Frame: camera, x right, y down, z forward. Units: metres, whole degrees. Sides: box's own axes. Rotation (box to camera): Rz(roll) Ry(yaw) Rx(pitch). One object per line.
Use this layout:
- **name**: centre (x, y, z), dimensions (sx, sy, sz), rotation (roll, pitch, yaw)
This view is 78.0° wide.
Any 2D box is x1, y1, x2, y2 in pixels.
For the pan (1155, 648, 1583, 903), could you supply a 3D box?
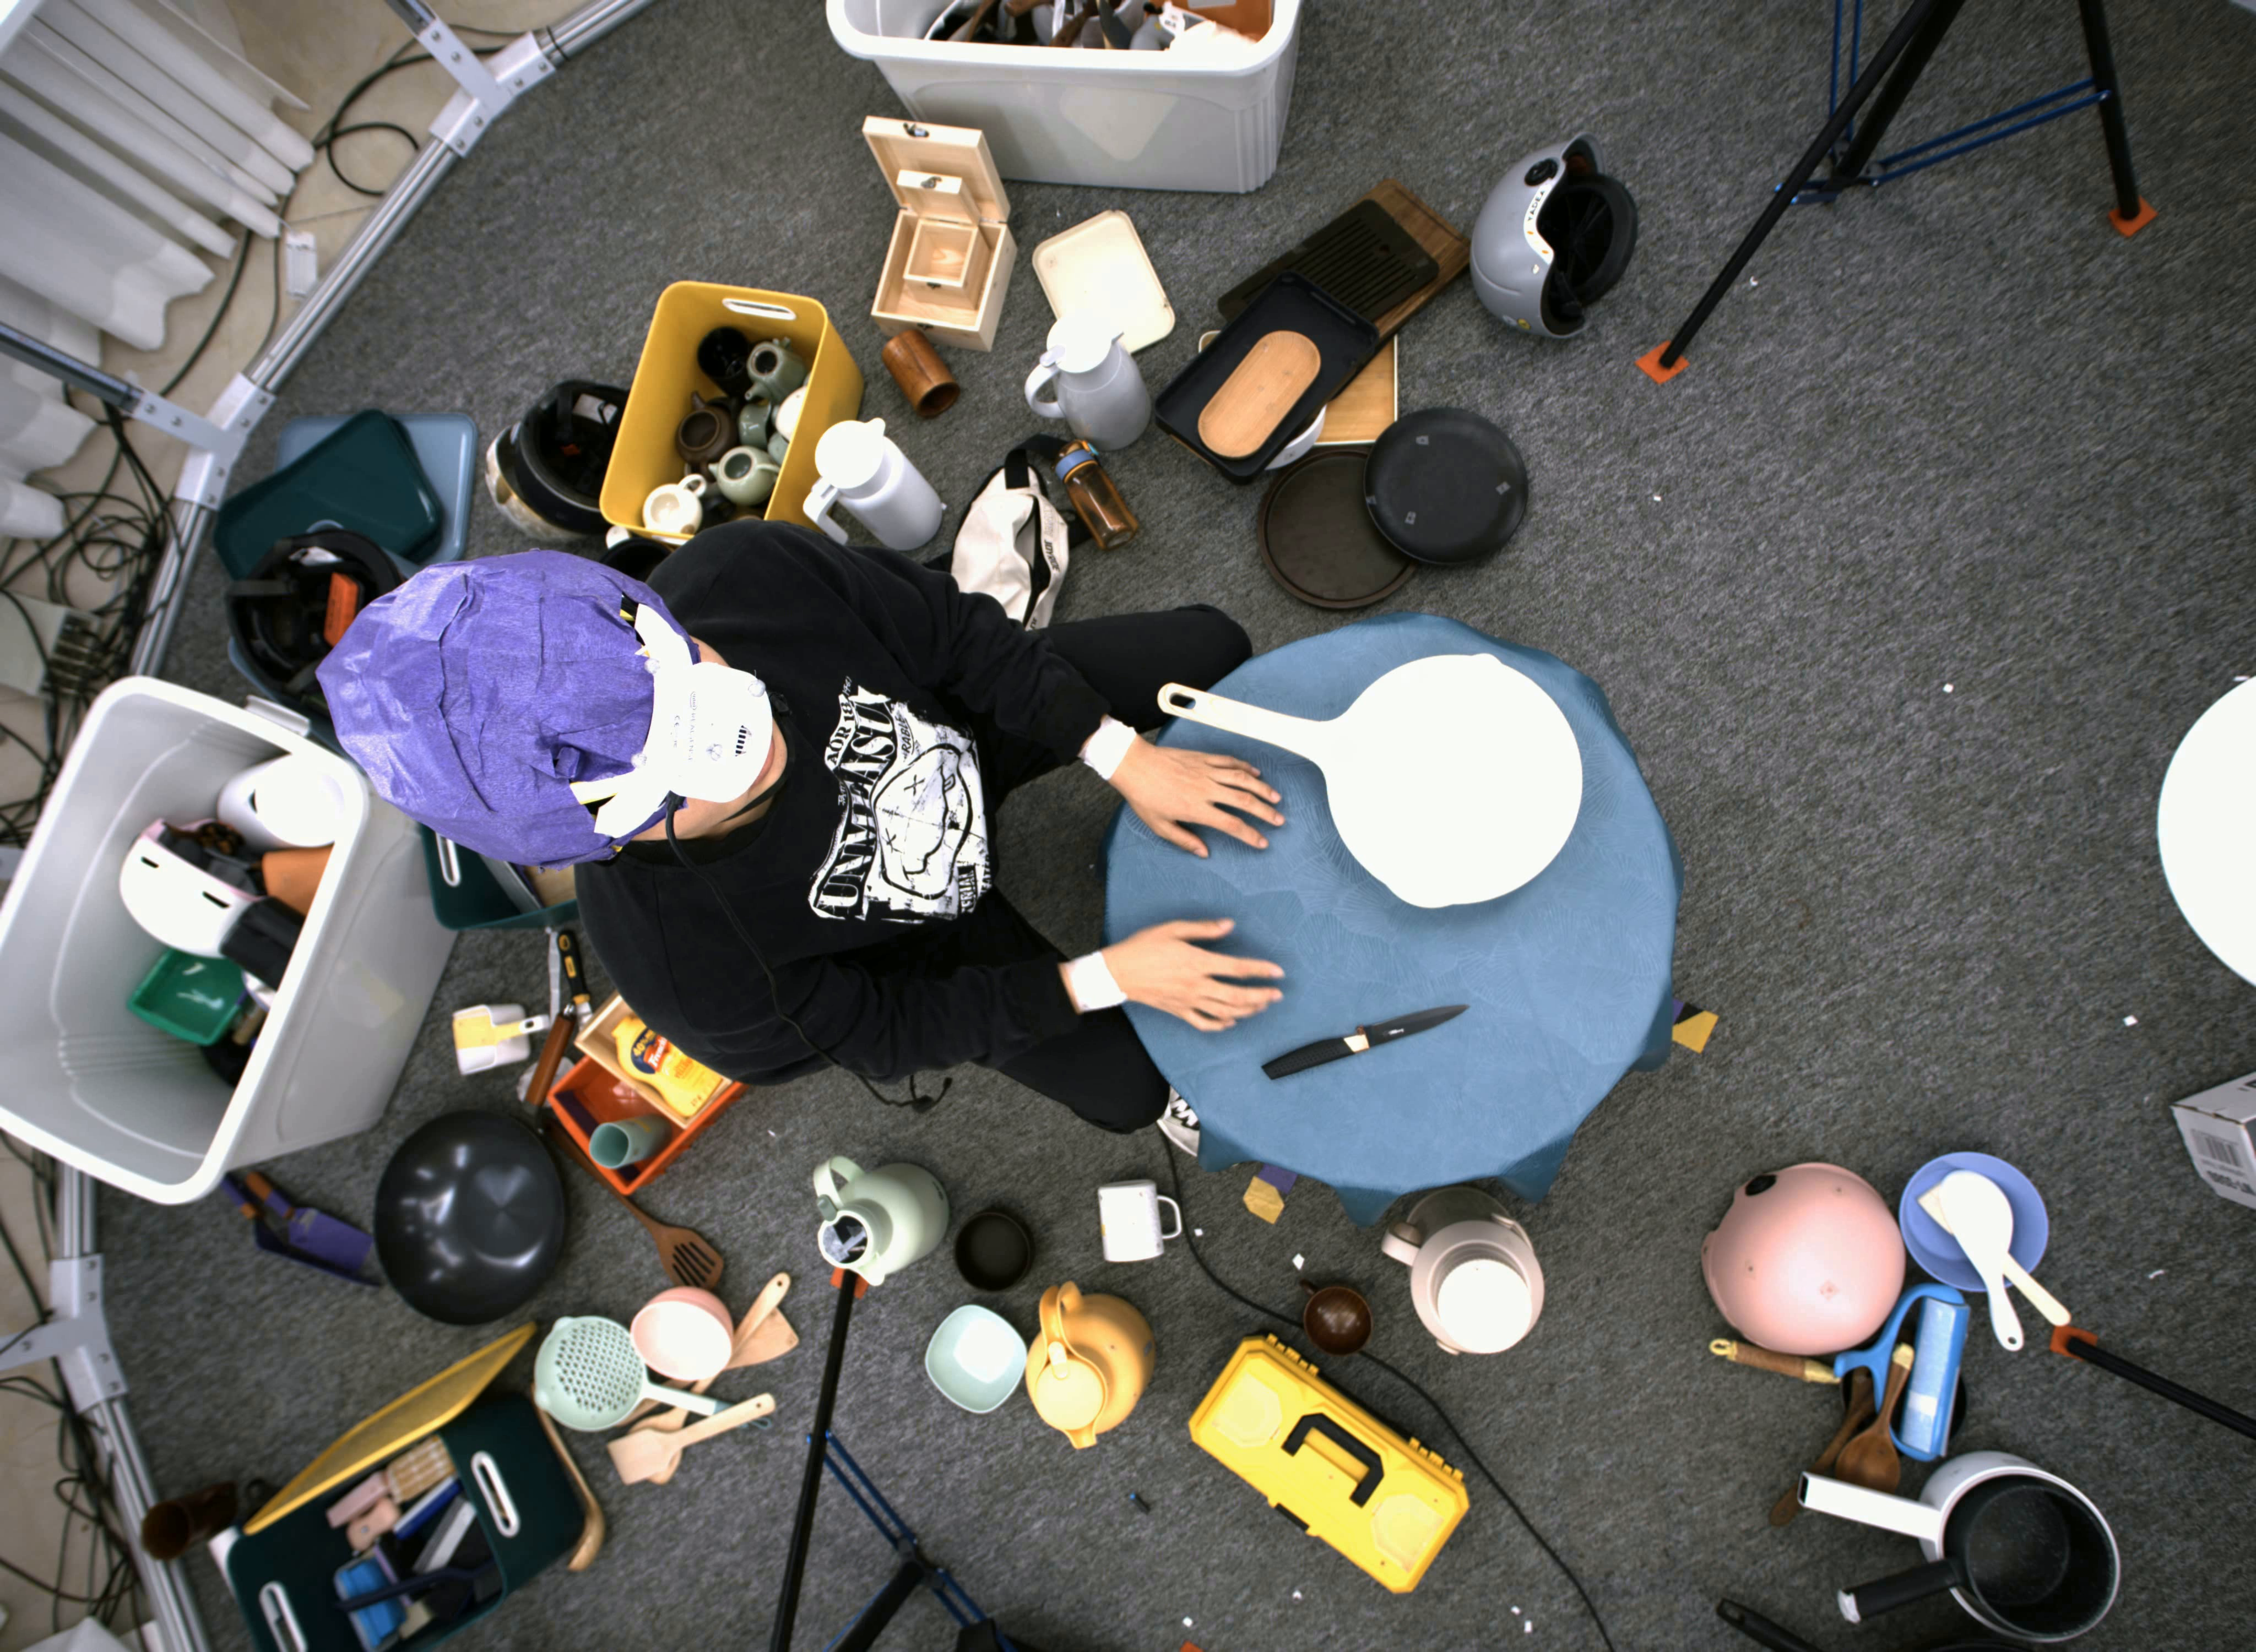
- **pan**: centre (0.244, -0.074, 1.423), dimensions (0.435, 0.102, 0.263), rotation (15, 91, 11)

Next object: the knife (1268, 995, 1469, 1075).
- **knife**: centre (0.252, 0.218, 1.453), dimensions (0.227, 0.017, 0.026), rotation (-19, 67, 8)
